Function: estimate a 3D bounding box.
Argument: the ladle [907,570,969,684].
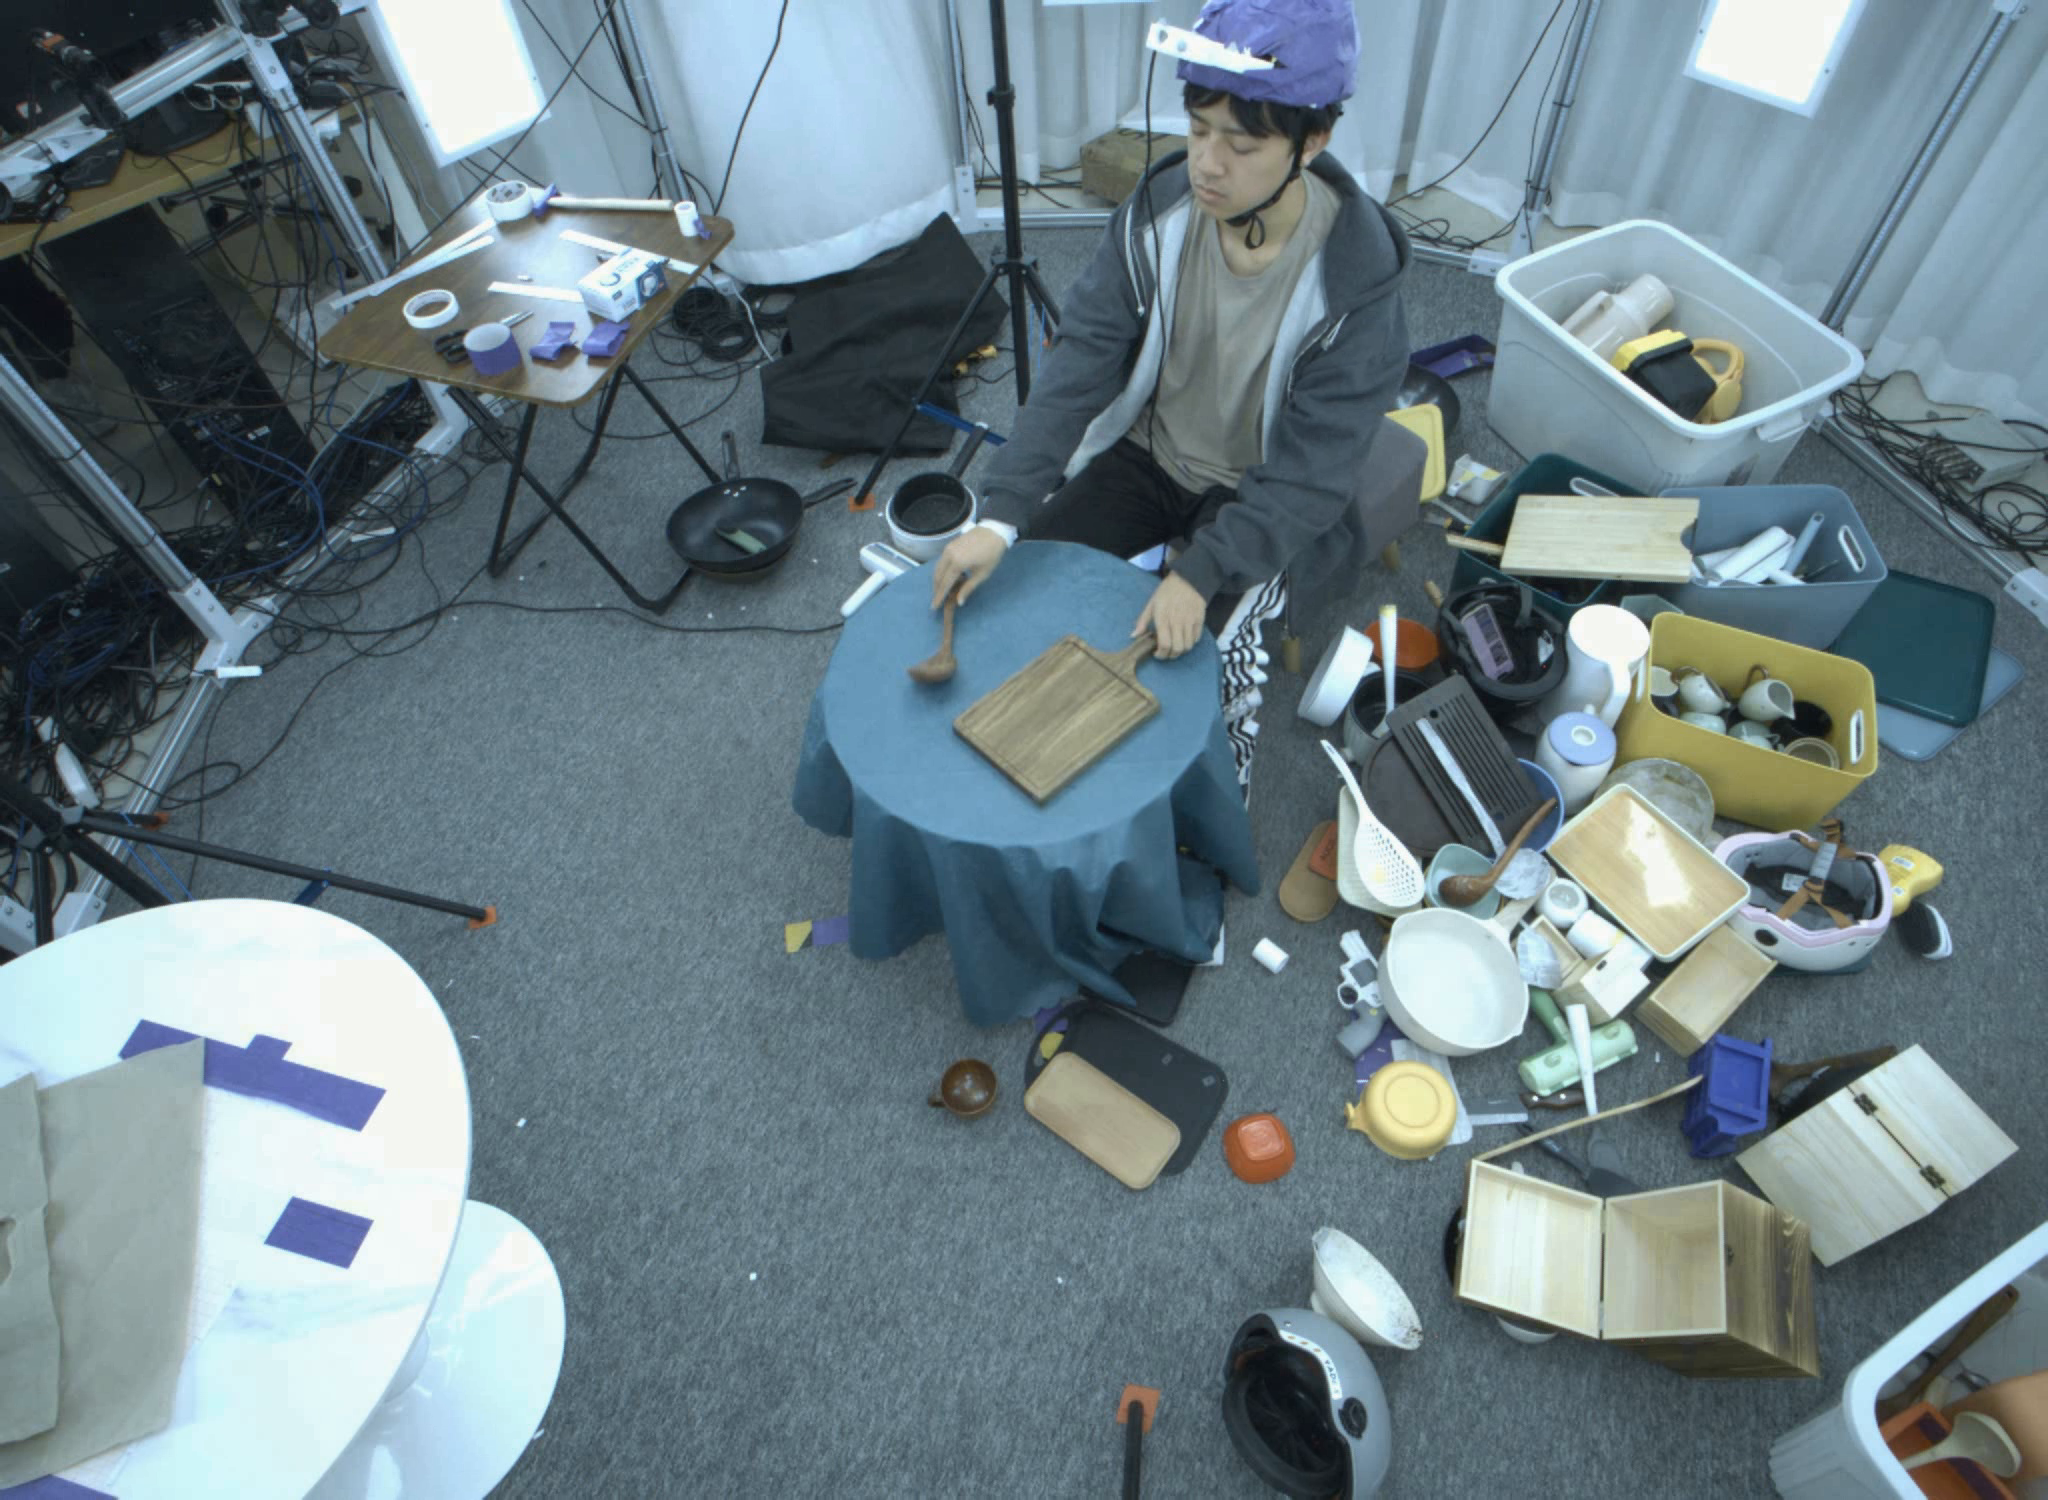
[{"bbox_3d":[-0.124,-0.201,1.897,0.076,0.066,0.258,-1,54,15],"label":"ladle"}]

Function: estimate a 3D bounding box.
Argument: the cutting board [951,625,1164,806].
[{"bbox_3d":[0.083,-0.080,1.830,0.354,0.023,0.197,-39,63,-22],"label":"cutting board"}]
